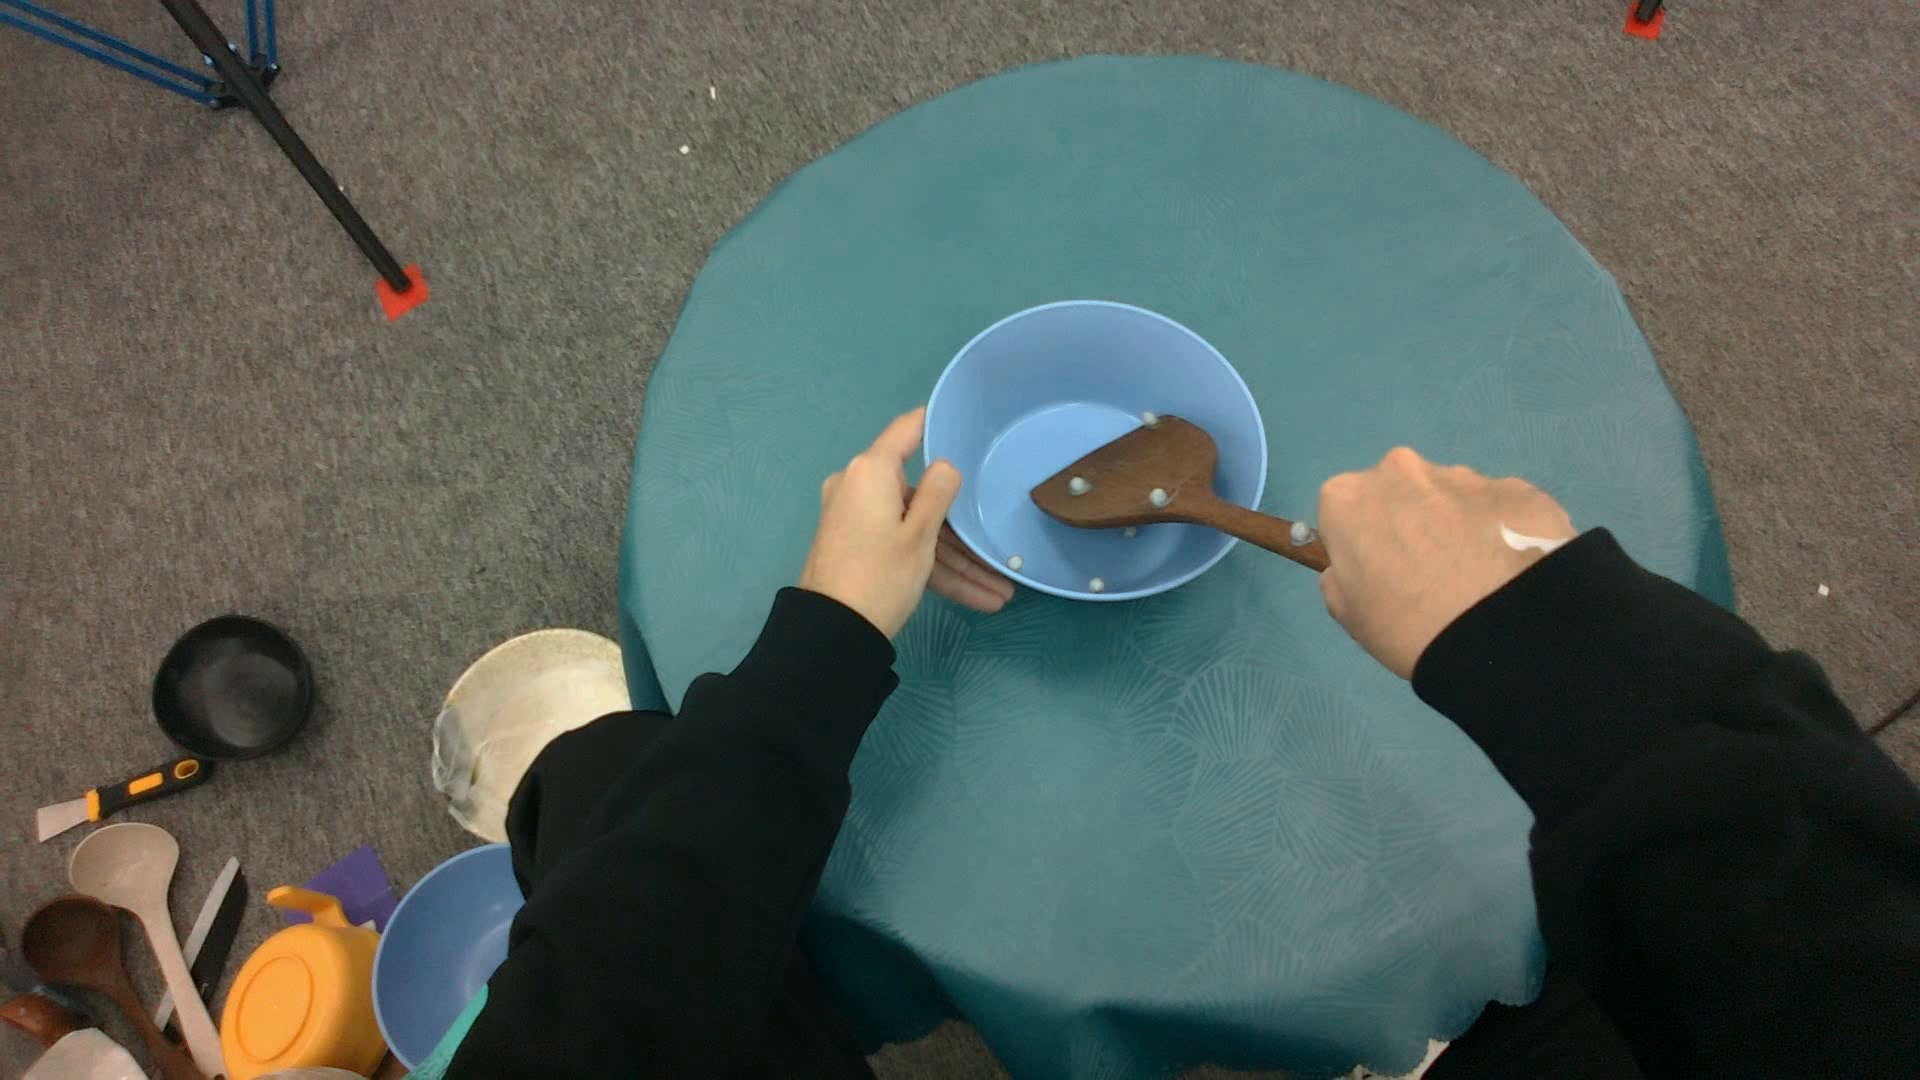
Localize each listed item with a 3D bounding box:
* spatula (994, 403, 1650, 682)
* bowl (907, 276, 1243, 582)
[{"bbox_3d":[0.125,-0.008,0.575,0.096,0.386,0.016,-29,112,-14],"label":"spatula"},{"bbox_3d":[0.056,-0.049,0.733,0.176,0.070,0.176,3,66,-6],"label":"bowl"}]
